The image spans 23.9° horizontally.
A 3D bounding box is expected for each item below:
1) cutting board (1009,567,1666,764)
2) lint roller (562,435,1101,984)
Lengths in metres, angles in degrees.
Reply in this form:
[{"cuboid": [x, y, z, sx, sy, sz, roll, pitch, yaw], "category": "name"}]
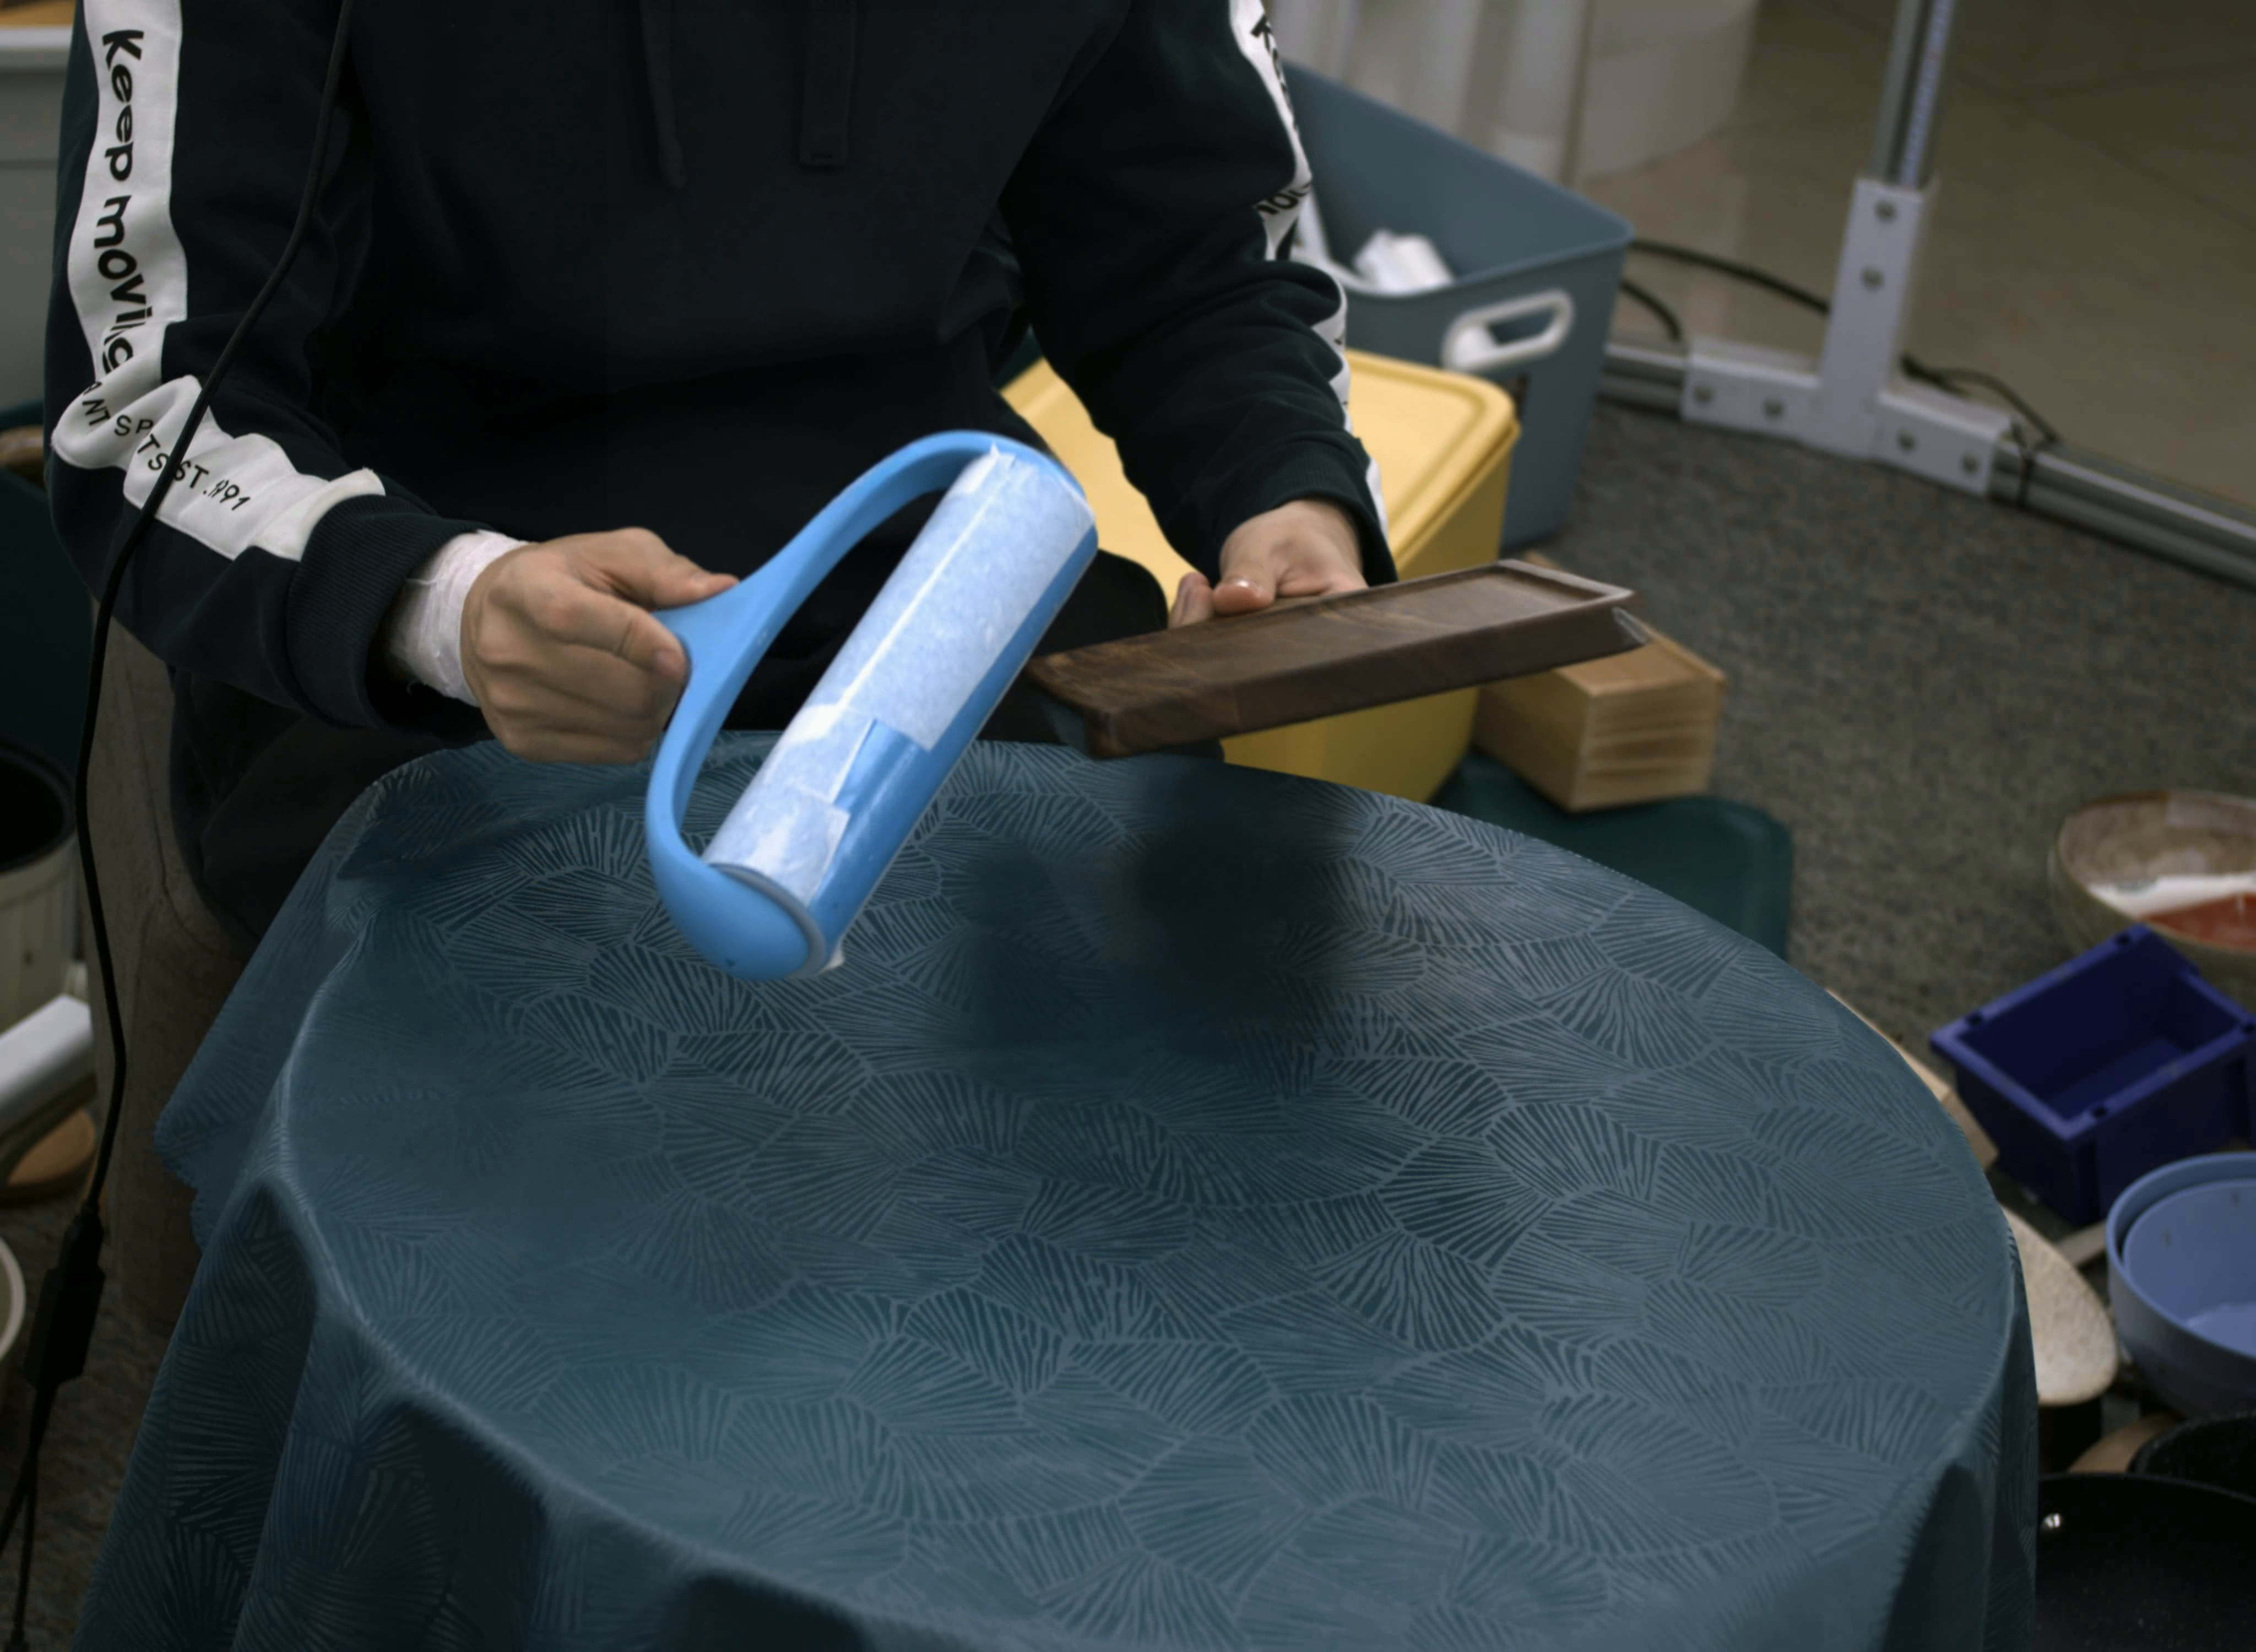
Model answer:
[{"cuboid": [0.062, -0.064, 1.943, 0.200, 0.023, 0.353, -12, 6, -6], "category": "cutting board"}, {"cuboid": [-0.127, -0.045, 1.785, 0.181, 0.067, 0.230, 7, 51, 30], "category": "lint roller"}]
